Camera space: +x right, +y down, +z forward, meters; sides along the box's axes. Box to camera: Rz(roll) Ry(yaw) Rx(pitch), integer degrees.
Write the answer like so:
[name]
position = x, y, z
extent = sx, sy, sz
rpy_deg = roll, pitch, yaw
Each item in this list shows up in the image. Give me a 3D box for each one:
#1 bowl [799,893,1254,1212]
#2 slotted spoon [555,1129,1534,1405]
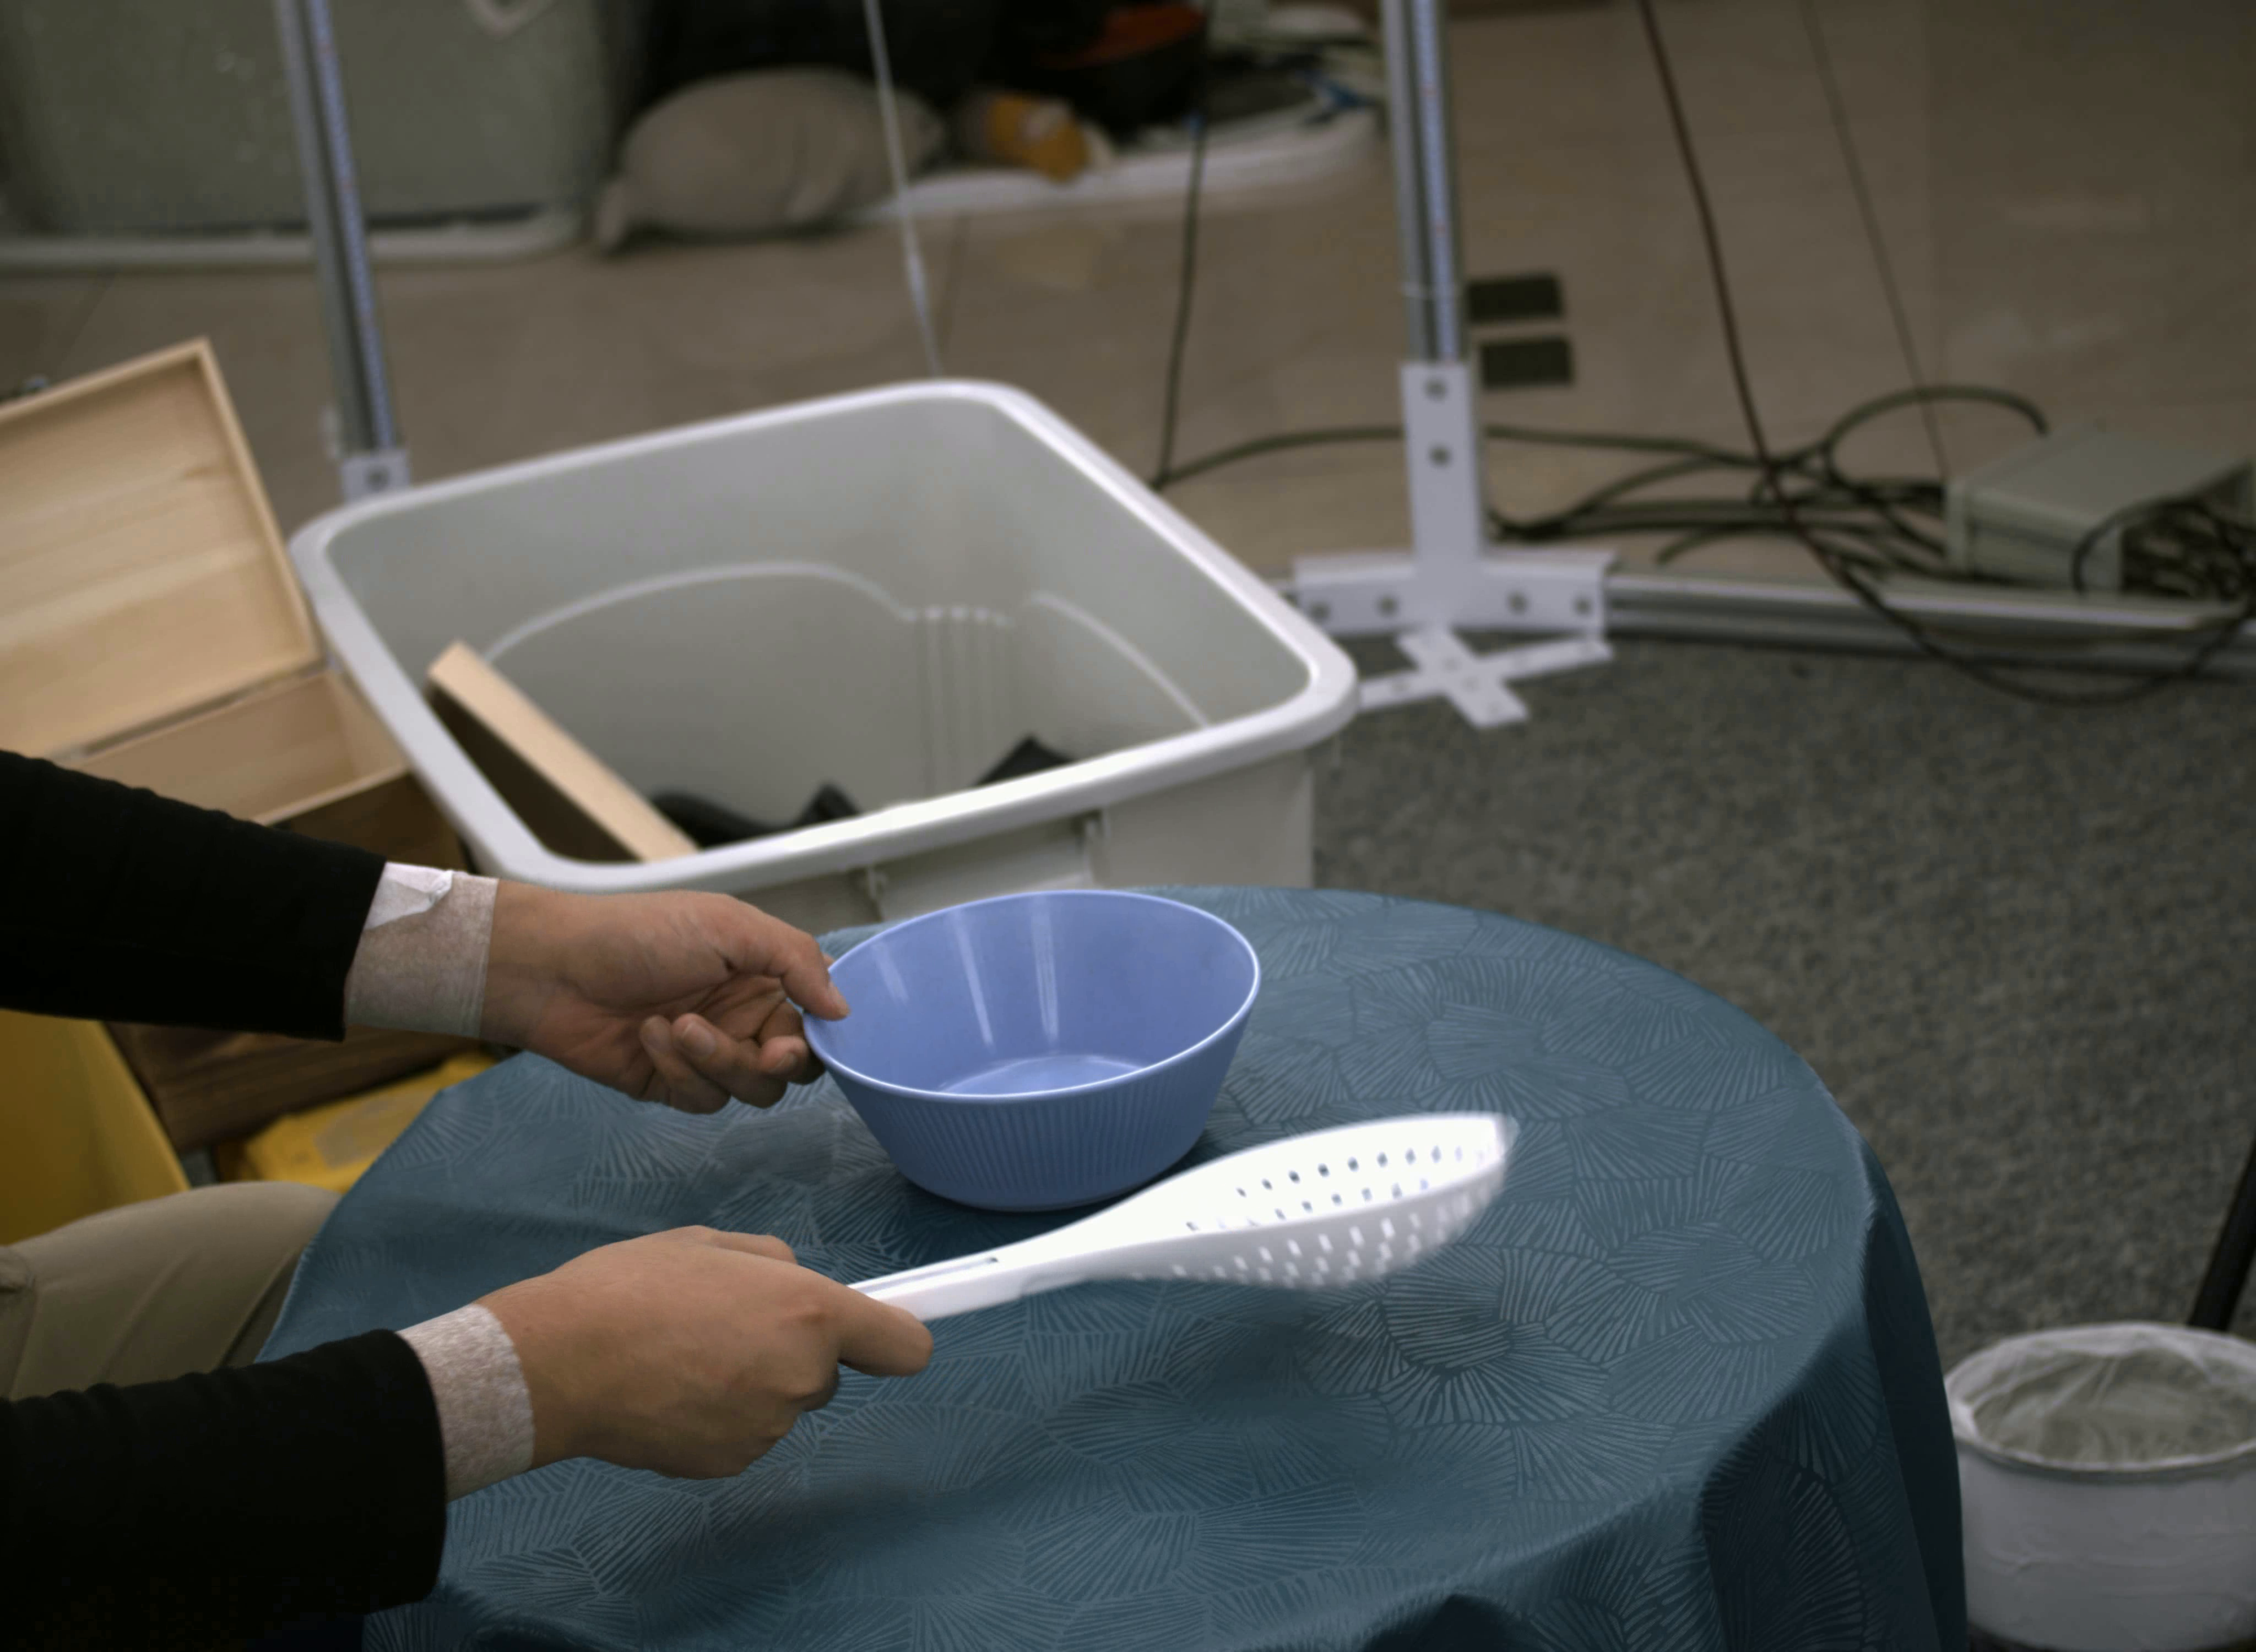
[bowl]
position = -0.035, 0.093, 2.173
extent = 0.176, 0.071, 0.173
rpy_deg = -6, 25, 3
[slotted spoon]
position = -0.026, 0.154, 1.970
extent = 0.349, 0.046, 0.135
rpy_deg = -7, 9, -13
